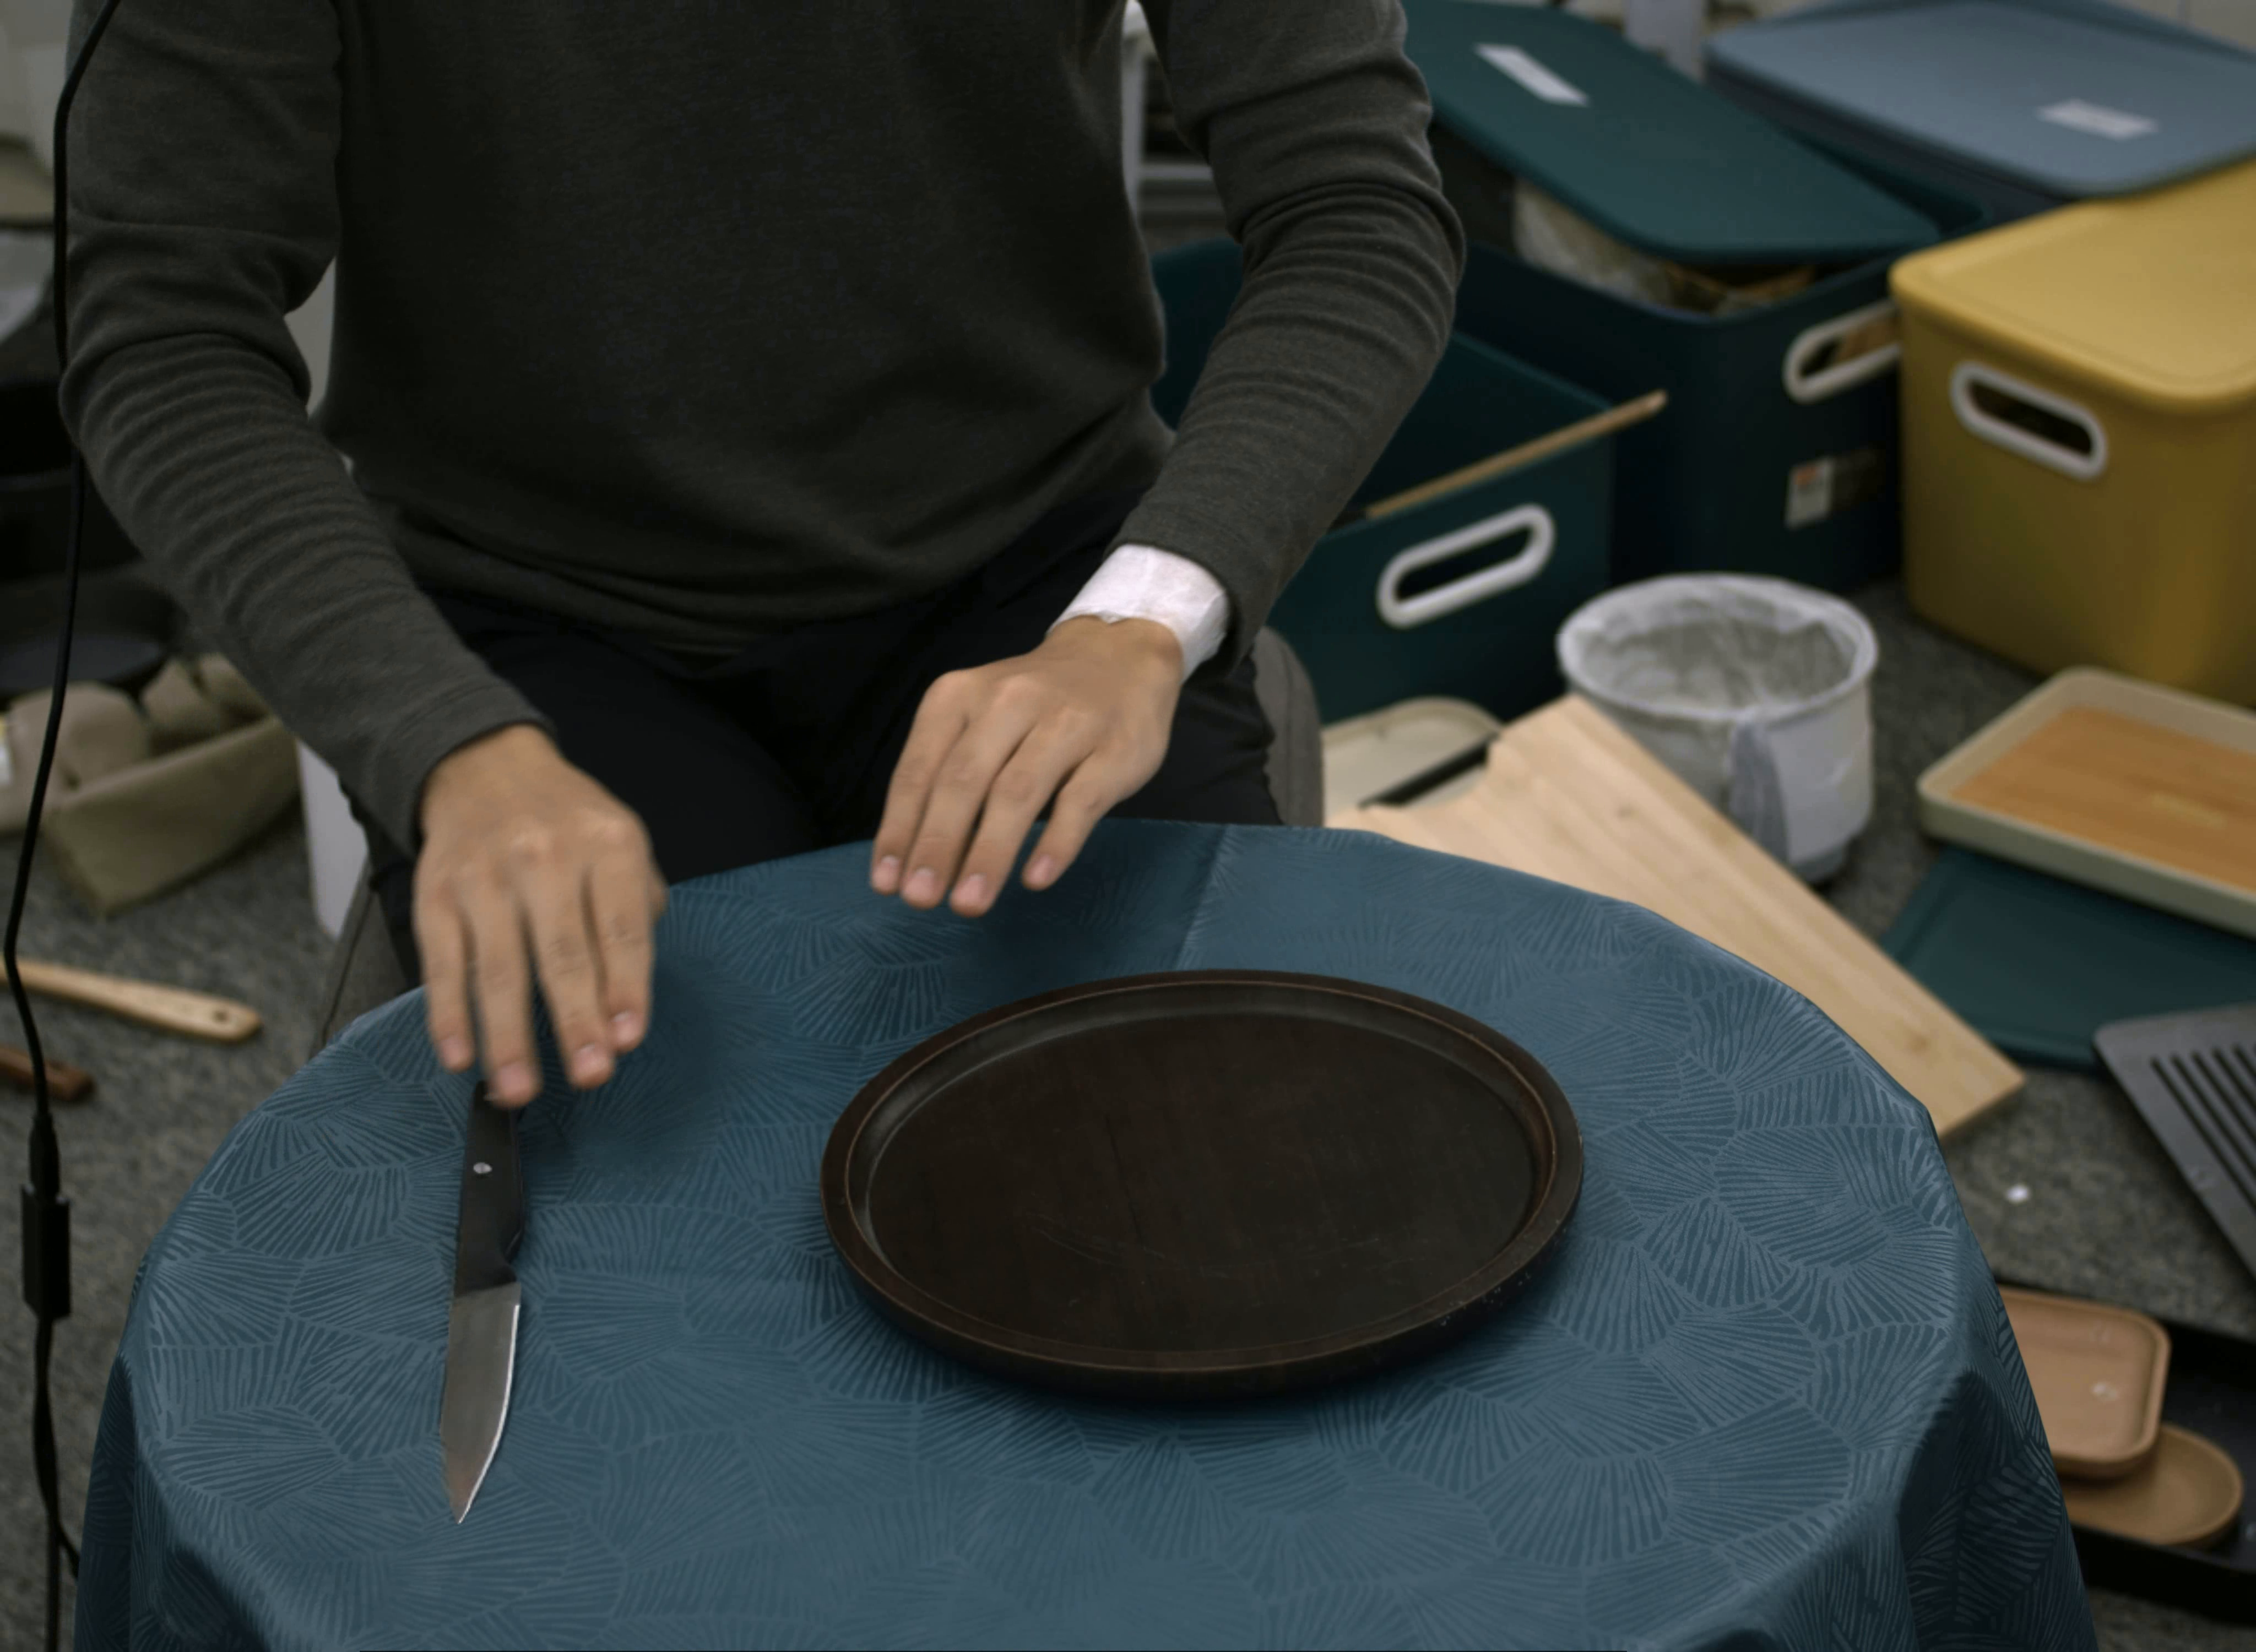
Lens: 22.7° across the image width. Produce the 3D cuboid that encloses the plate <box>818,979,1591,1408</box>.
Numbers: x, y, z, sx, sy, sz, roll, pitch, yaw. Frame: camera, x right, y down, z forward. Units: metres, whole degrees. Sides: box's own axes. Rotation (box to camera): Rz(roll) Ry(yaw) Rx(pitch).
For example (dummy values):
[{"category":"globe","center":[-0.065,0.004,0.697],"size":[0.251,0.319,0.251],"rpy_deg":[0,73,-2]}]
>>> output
[{"category":"plate","center":[0.025,0.118,1.842],"size":[0.253,0.029,0.259],"rpy_deg":[-1,28,1]}]

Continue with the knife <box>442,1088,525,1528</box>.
[{"category":"knife","center":[-0.209,0.154,1.807],"size":[0.024,0.016,0.242],"rpy_deg":[1,30,-4]}]
